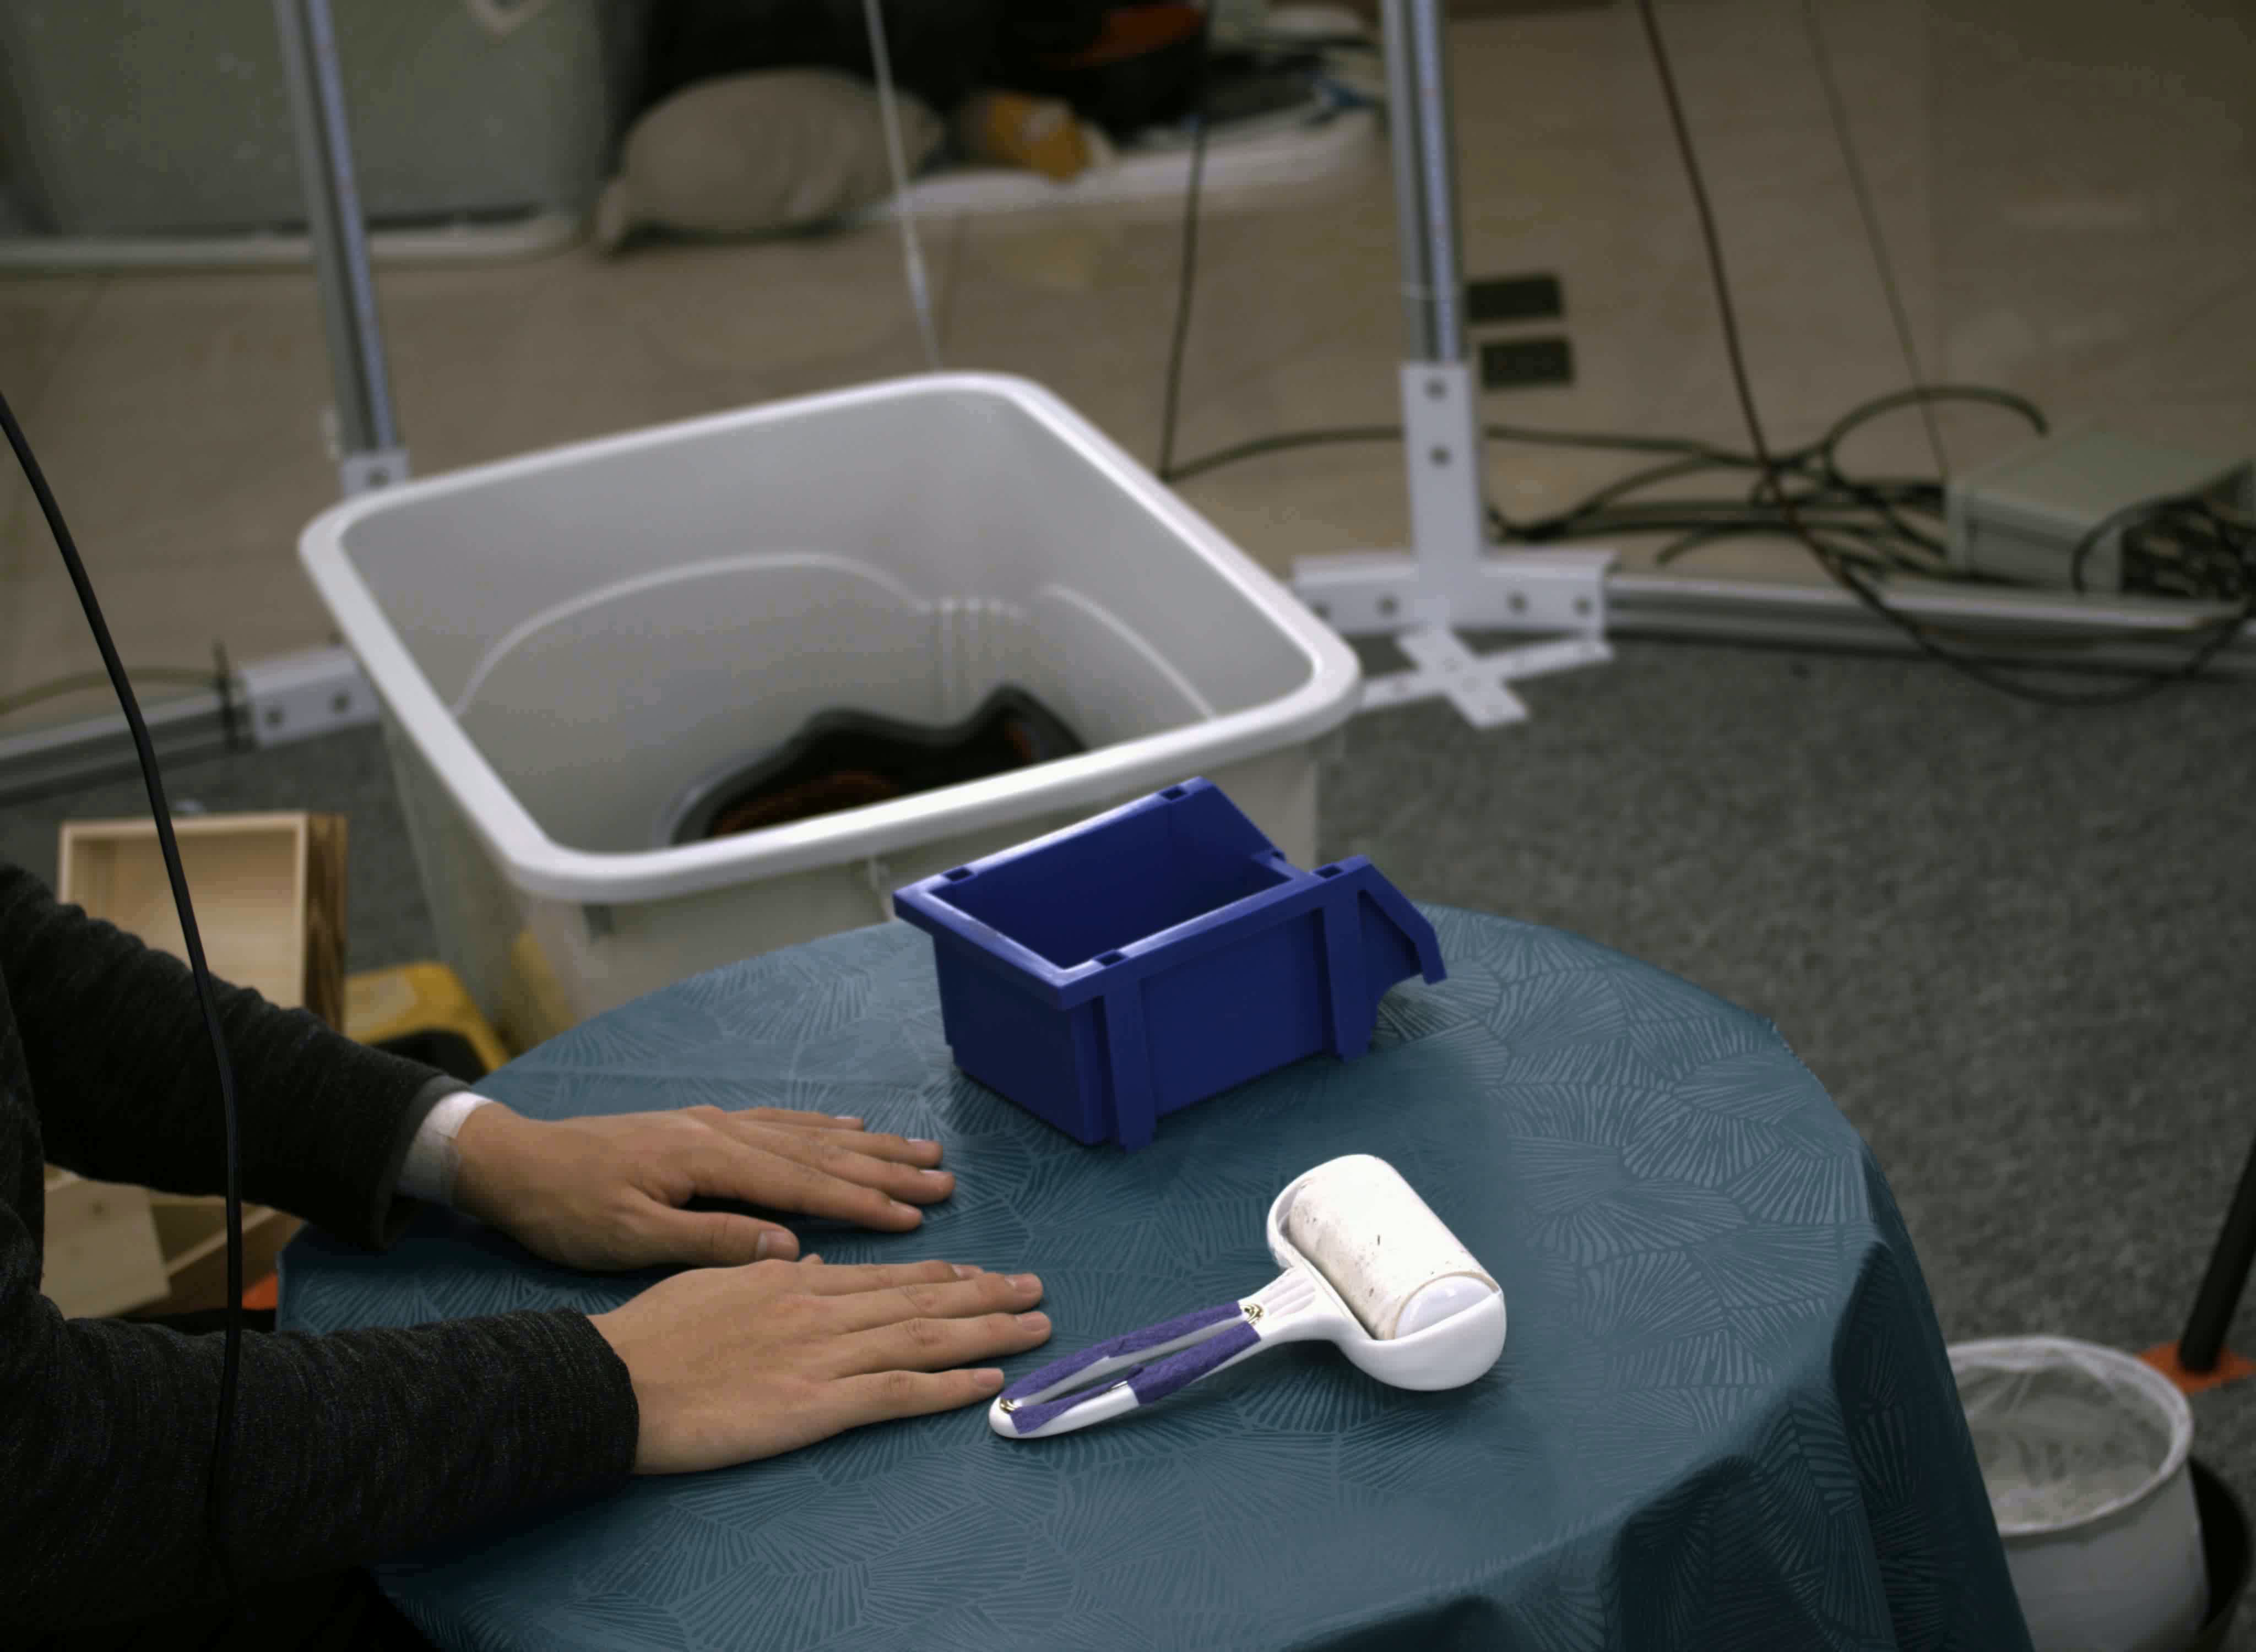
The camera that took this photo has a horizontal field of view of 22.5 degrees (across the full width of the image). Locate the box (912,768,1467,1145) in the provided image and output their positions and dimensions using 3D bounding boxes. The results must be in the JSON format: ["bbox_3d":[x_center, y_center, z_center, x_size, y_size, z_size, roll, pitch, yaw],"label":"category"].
[{"bbox_3d":[0.024,0.047,2.241,0.178,0.083,0.123,-23,29,-26],"label":"box"}]

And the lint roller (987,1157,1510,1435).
[{"bbox_3d":[0.034,0.172,2.011,0.180,0.051,0.131,-11,26,-14],"label":"lint roller"}]
